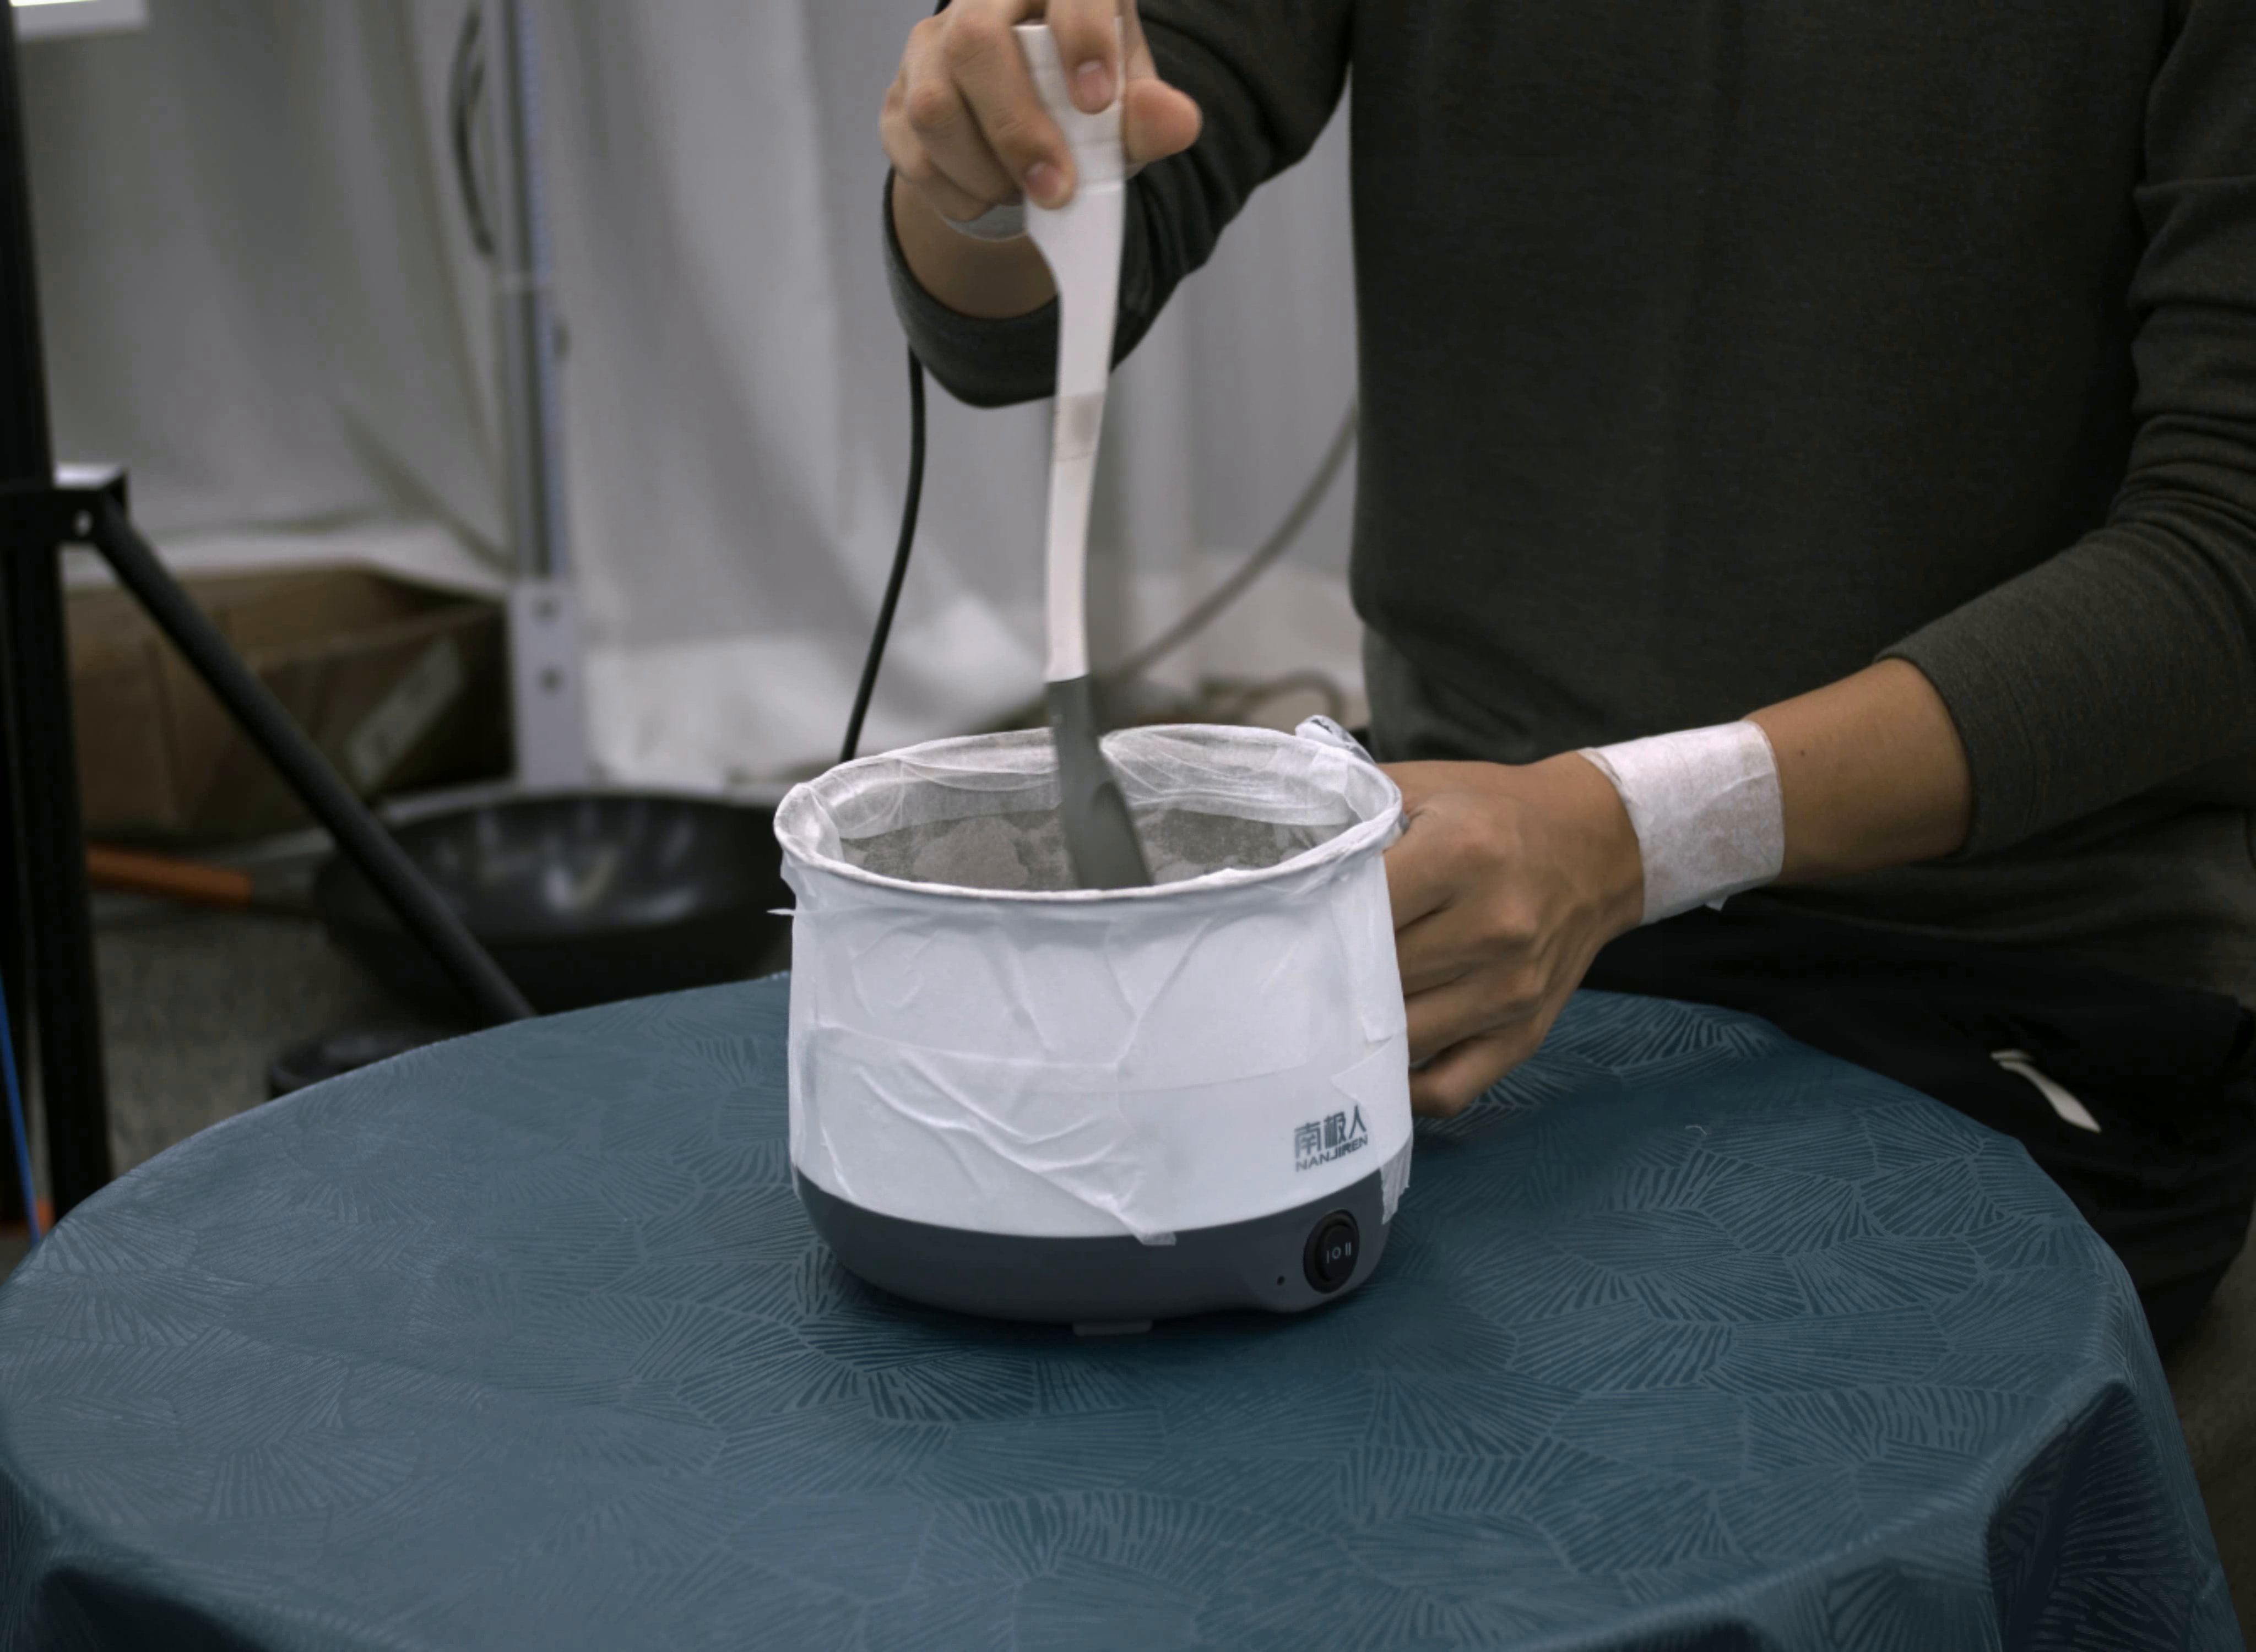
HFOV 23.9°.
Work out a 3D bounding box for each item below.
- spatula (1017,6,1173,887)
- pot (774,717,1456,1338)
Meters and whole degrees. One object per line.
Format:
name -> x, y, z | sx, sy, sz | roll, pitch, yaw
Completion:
spatula -> -0.005, -0.077, 1.462 | 0.032, 0.288, 0.058 | 0, 11, 20
pot -> 0.009, 0.050, 1.519 | 0.183, 0.136, 0.228 | 12, 21, 41
